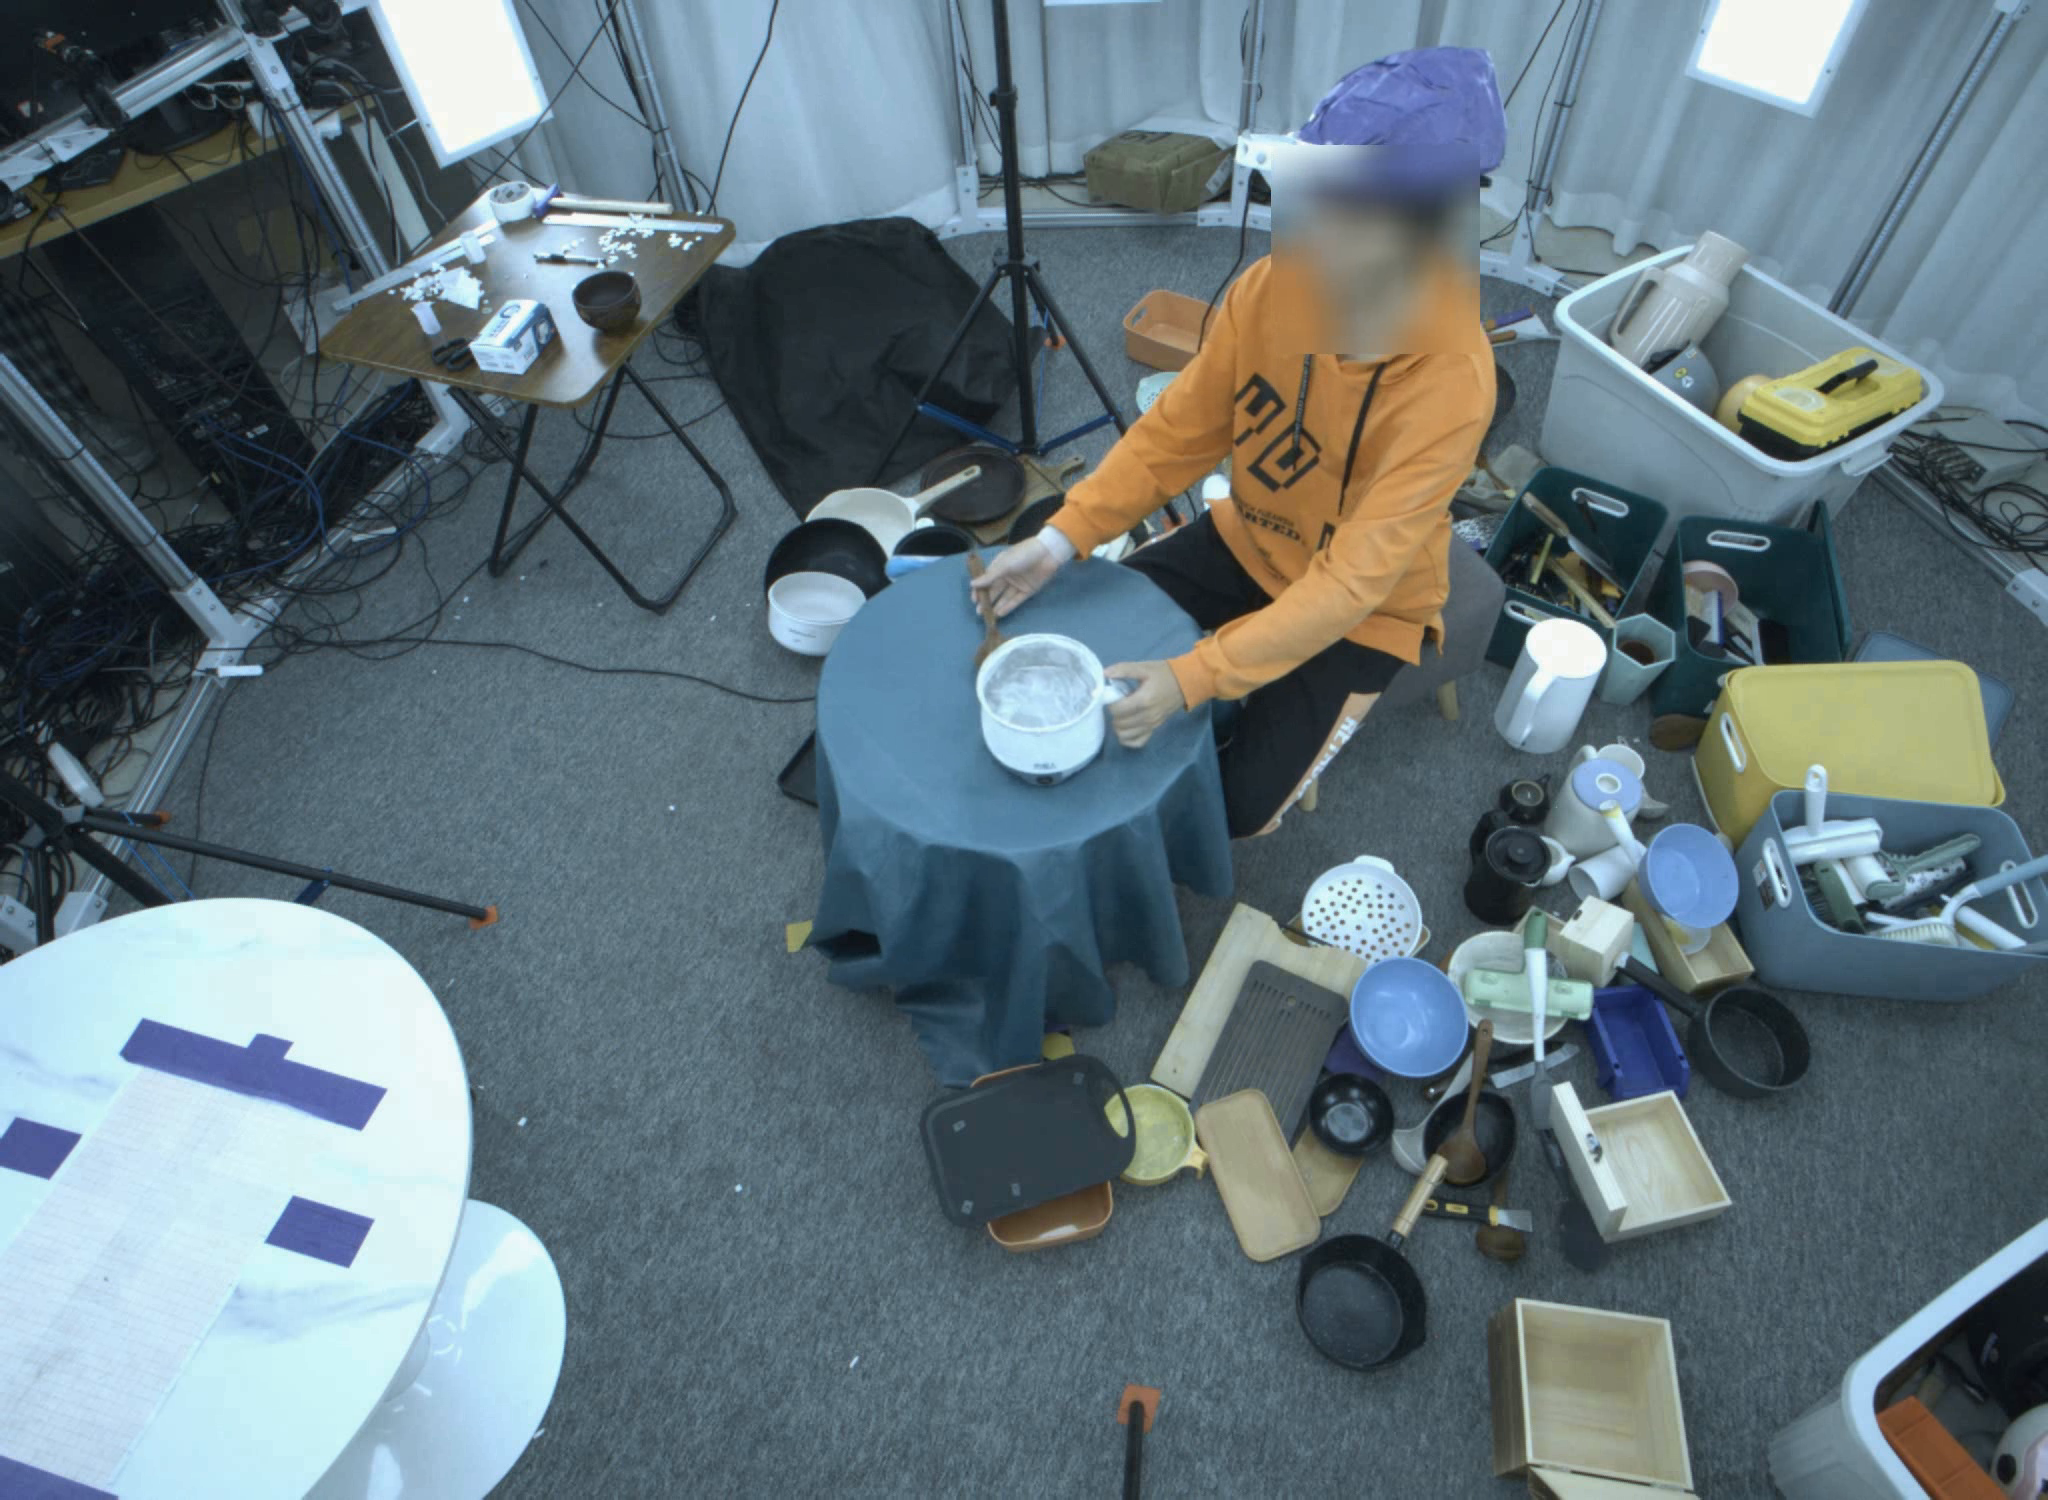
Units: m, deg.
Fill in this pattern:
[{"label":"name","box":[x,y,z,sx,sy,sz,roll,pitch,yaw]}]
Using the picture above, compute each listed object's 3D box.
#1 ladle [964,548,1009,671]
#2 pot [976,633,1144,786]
[{"label":"ladle","box":[-0.062,-0.227,1.900,0.077,0.065,0.257,-9,62,-8]},{"label":"pot","box":[0.054,-0.059,1.742,0.234,0.138,0.176,-4,55,0]}]
